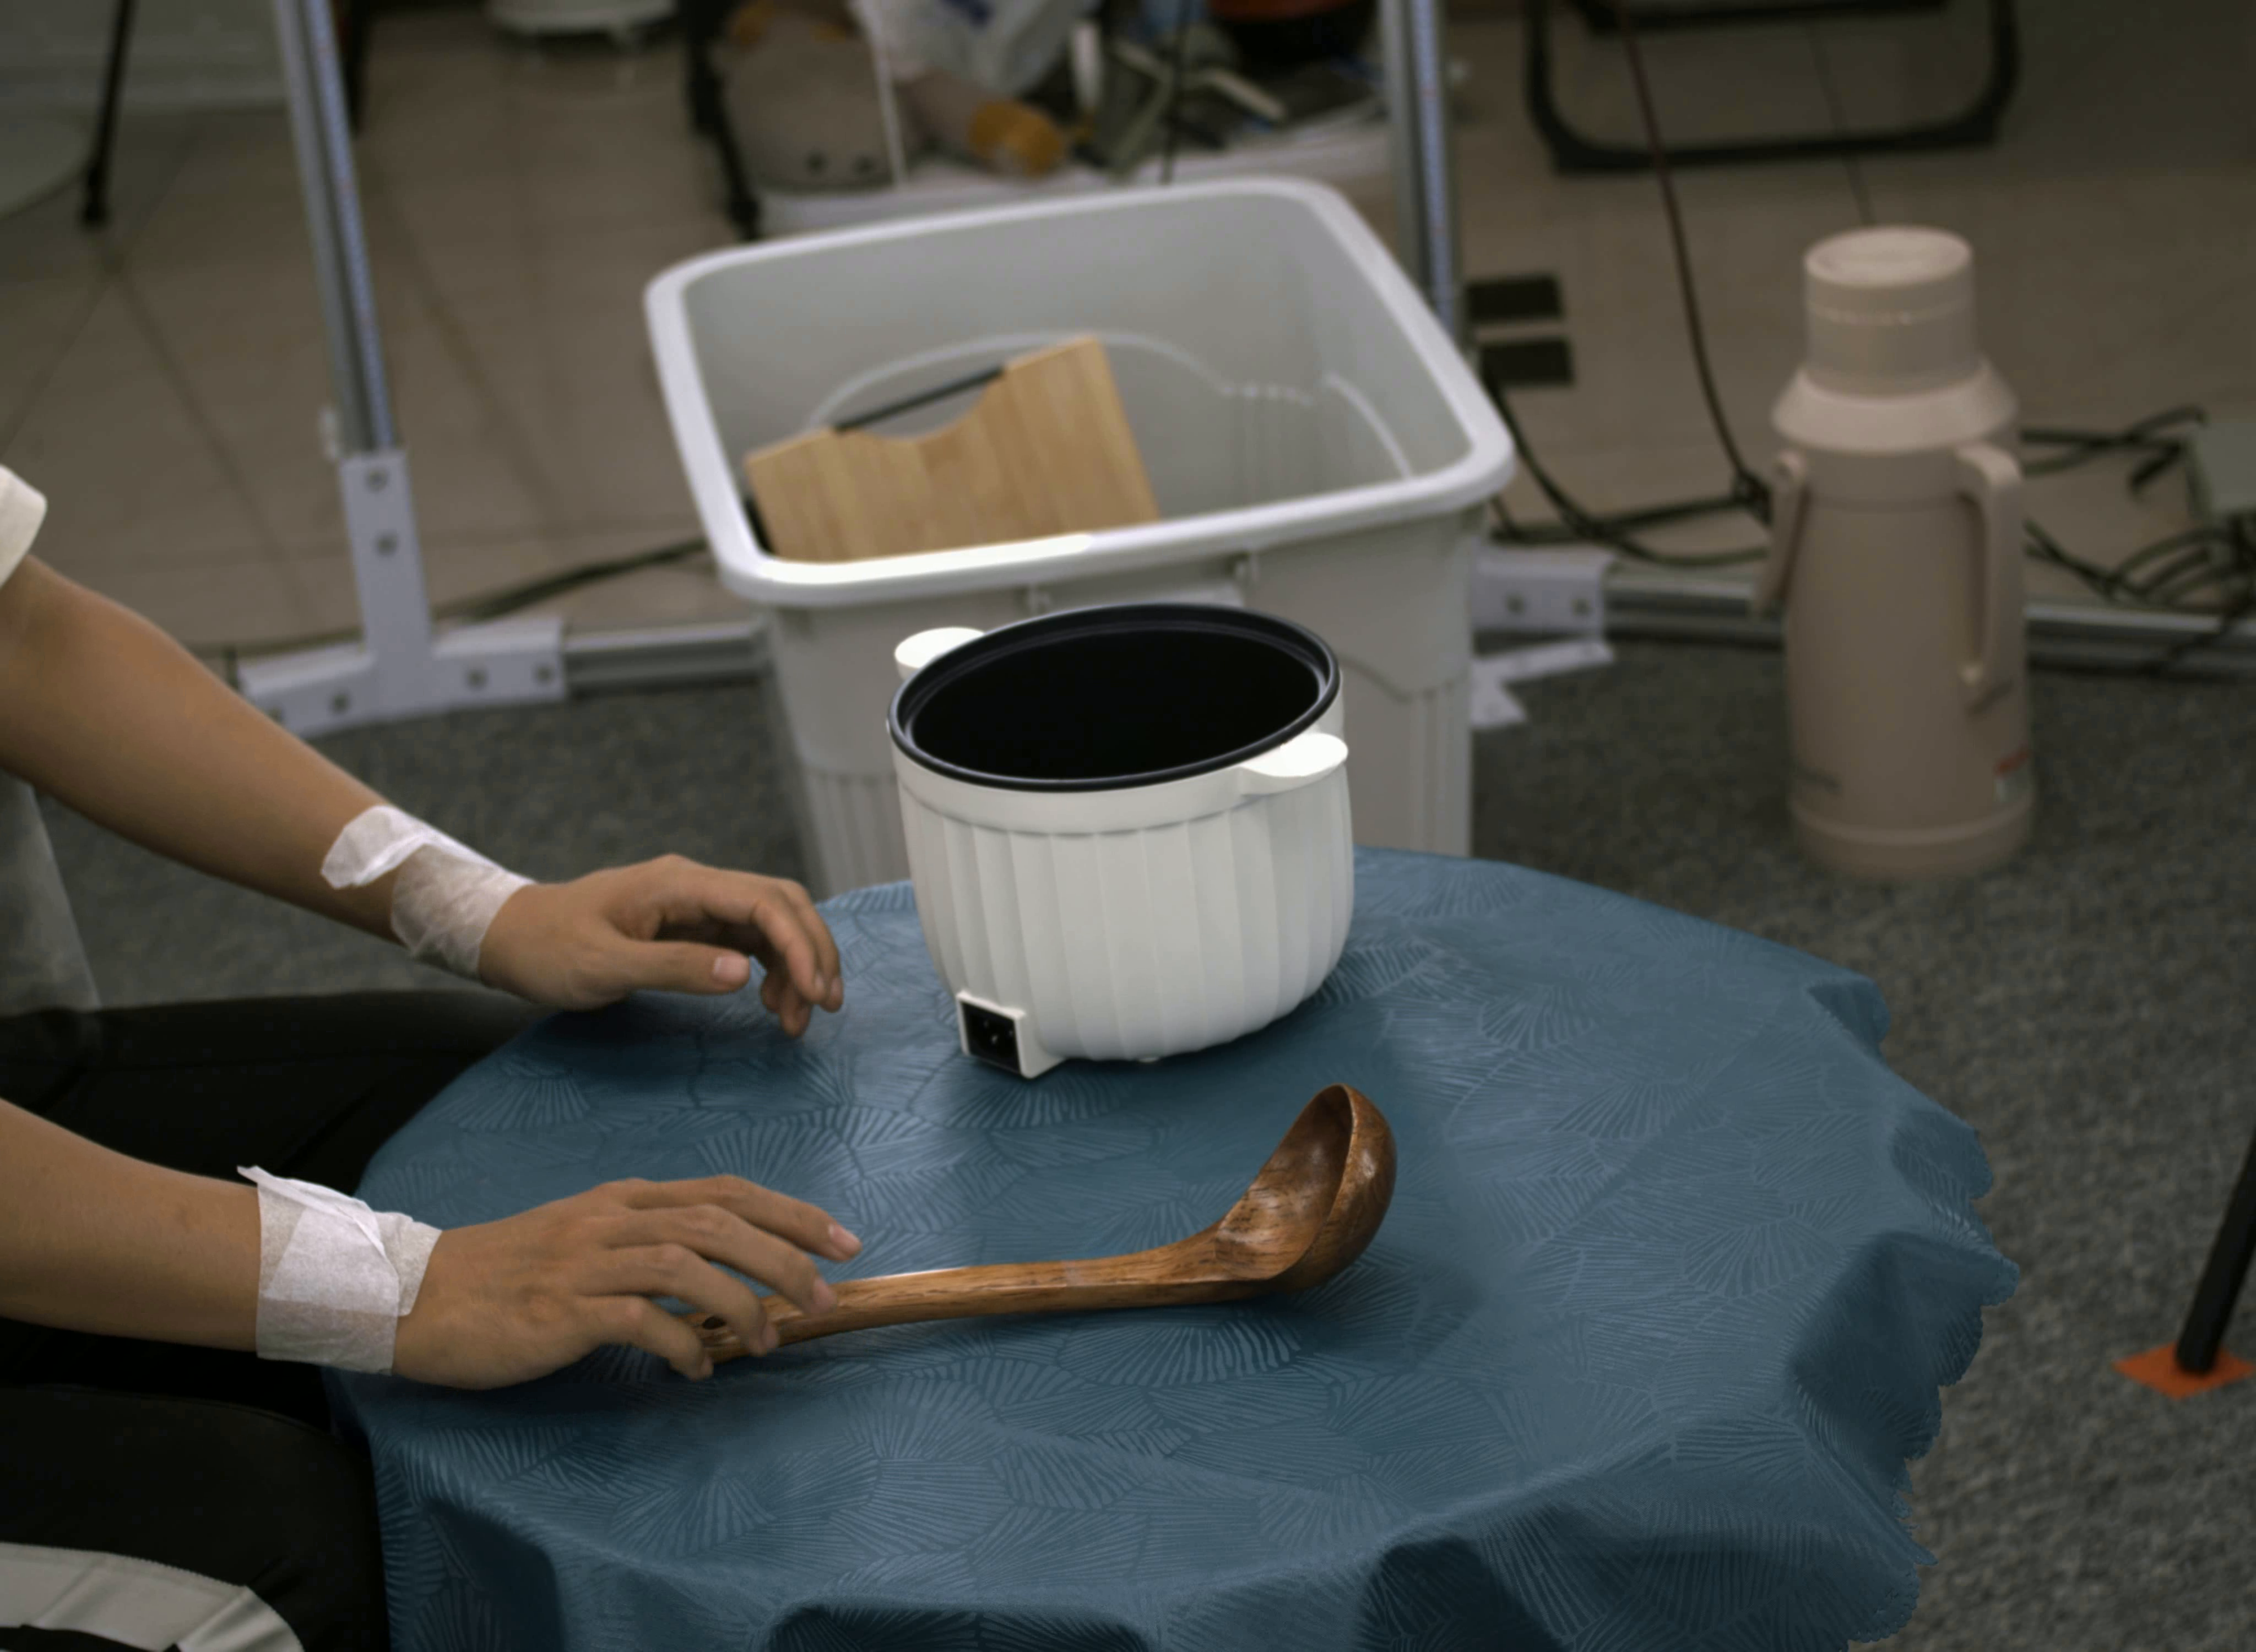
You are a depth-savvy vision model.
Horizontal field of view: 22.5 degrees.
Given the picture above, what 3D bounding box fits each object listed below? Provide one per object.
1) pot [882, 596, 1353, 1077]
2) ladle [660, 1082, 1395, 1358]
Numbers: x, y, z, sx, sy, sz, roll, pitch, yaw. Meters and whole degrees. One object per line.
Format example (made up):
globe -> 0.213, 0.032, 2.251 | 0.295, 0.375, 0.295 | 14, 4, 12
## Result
pot -> 0.003, 0.002, 2.275 | 0.238, 0.145, 0.189 | 19, 39, 41
ladle -> -0.038, 0.144, 2.056 | 0.273, 0.078, 0.080 | -6, 26, 1
